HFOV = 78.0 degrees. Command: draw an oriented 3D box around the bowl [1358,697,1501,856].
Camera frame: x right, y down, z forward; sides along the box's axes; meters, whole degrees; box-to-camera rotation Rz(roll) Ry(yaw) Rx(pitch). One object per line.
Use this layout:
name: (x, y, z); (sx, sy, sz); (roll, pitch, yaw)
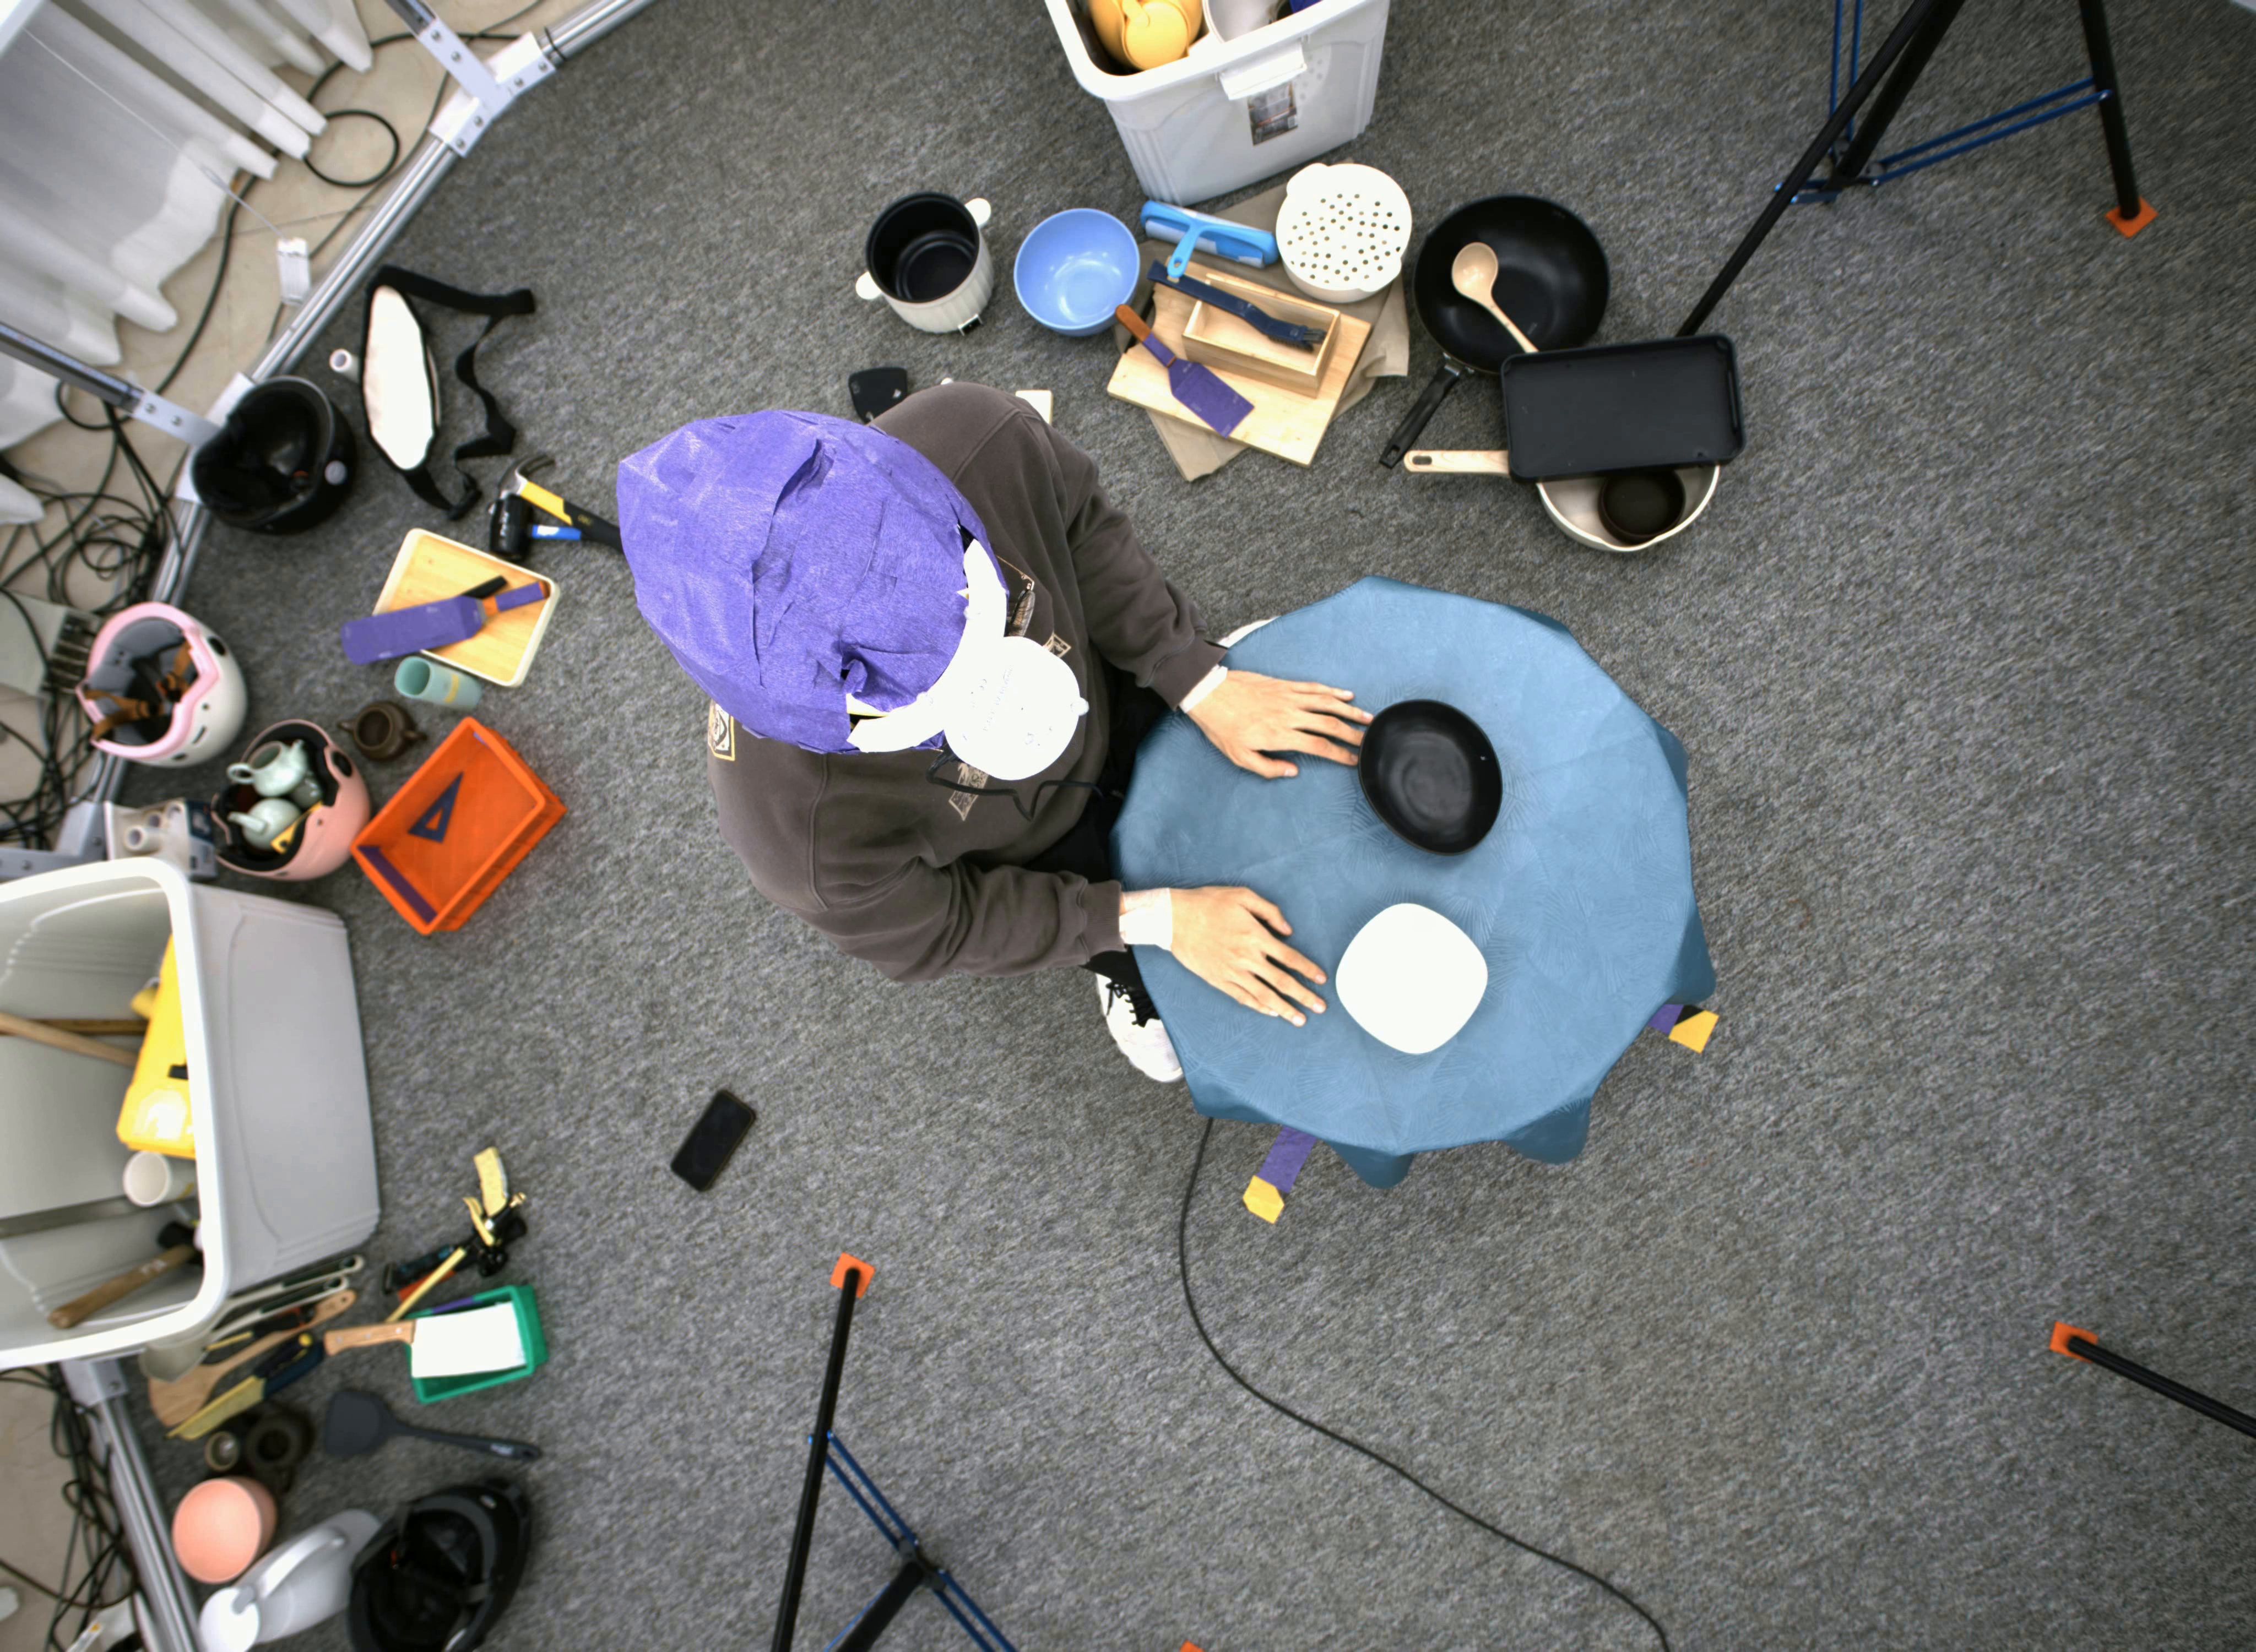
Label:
bowl: (0.312, -0.051, 1.424); (0.138, 0.066, 0.169); (-31, 84, 7)

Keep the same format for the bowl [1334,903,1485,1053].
bowl: (0.288, 0.155, 1.421); (0.152, 0.059, 0.150); (-1, 86, 8)
